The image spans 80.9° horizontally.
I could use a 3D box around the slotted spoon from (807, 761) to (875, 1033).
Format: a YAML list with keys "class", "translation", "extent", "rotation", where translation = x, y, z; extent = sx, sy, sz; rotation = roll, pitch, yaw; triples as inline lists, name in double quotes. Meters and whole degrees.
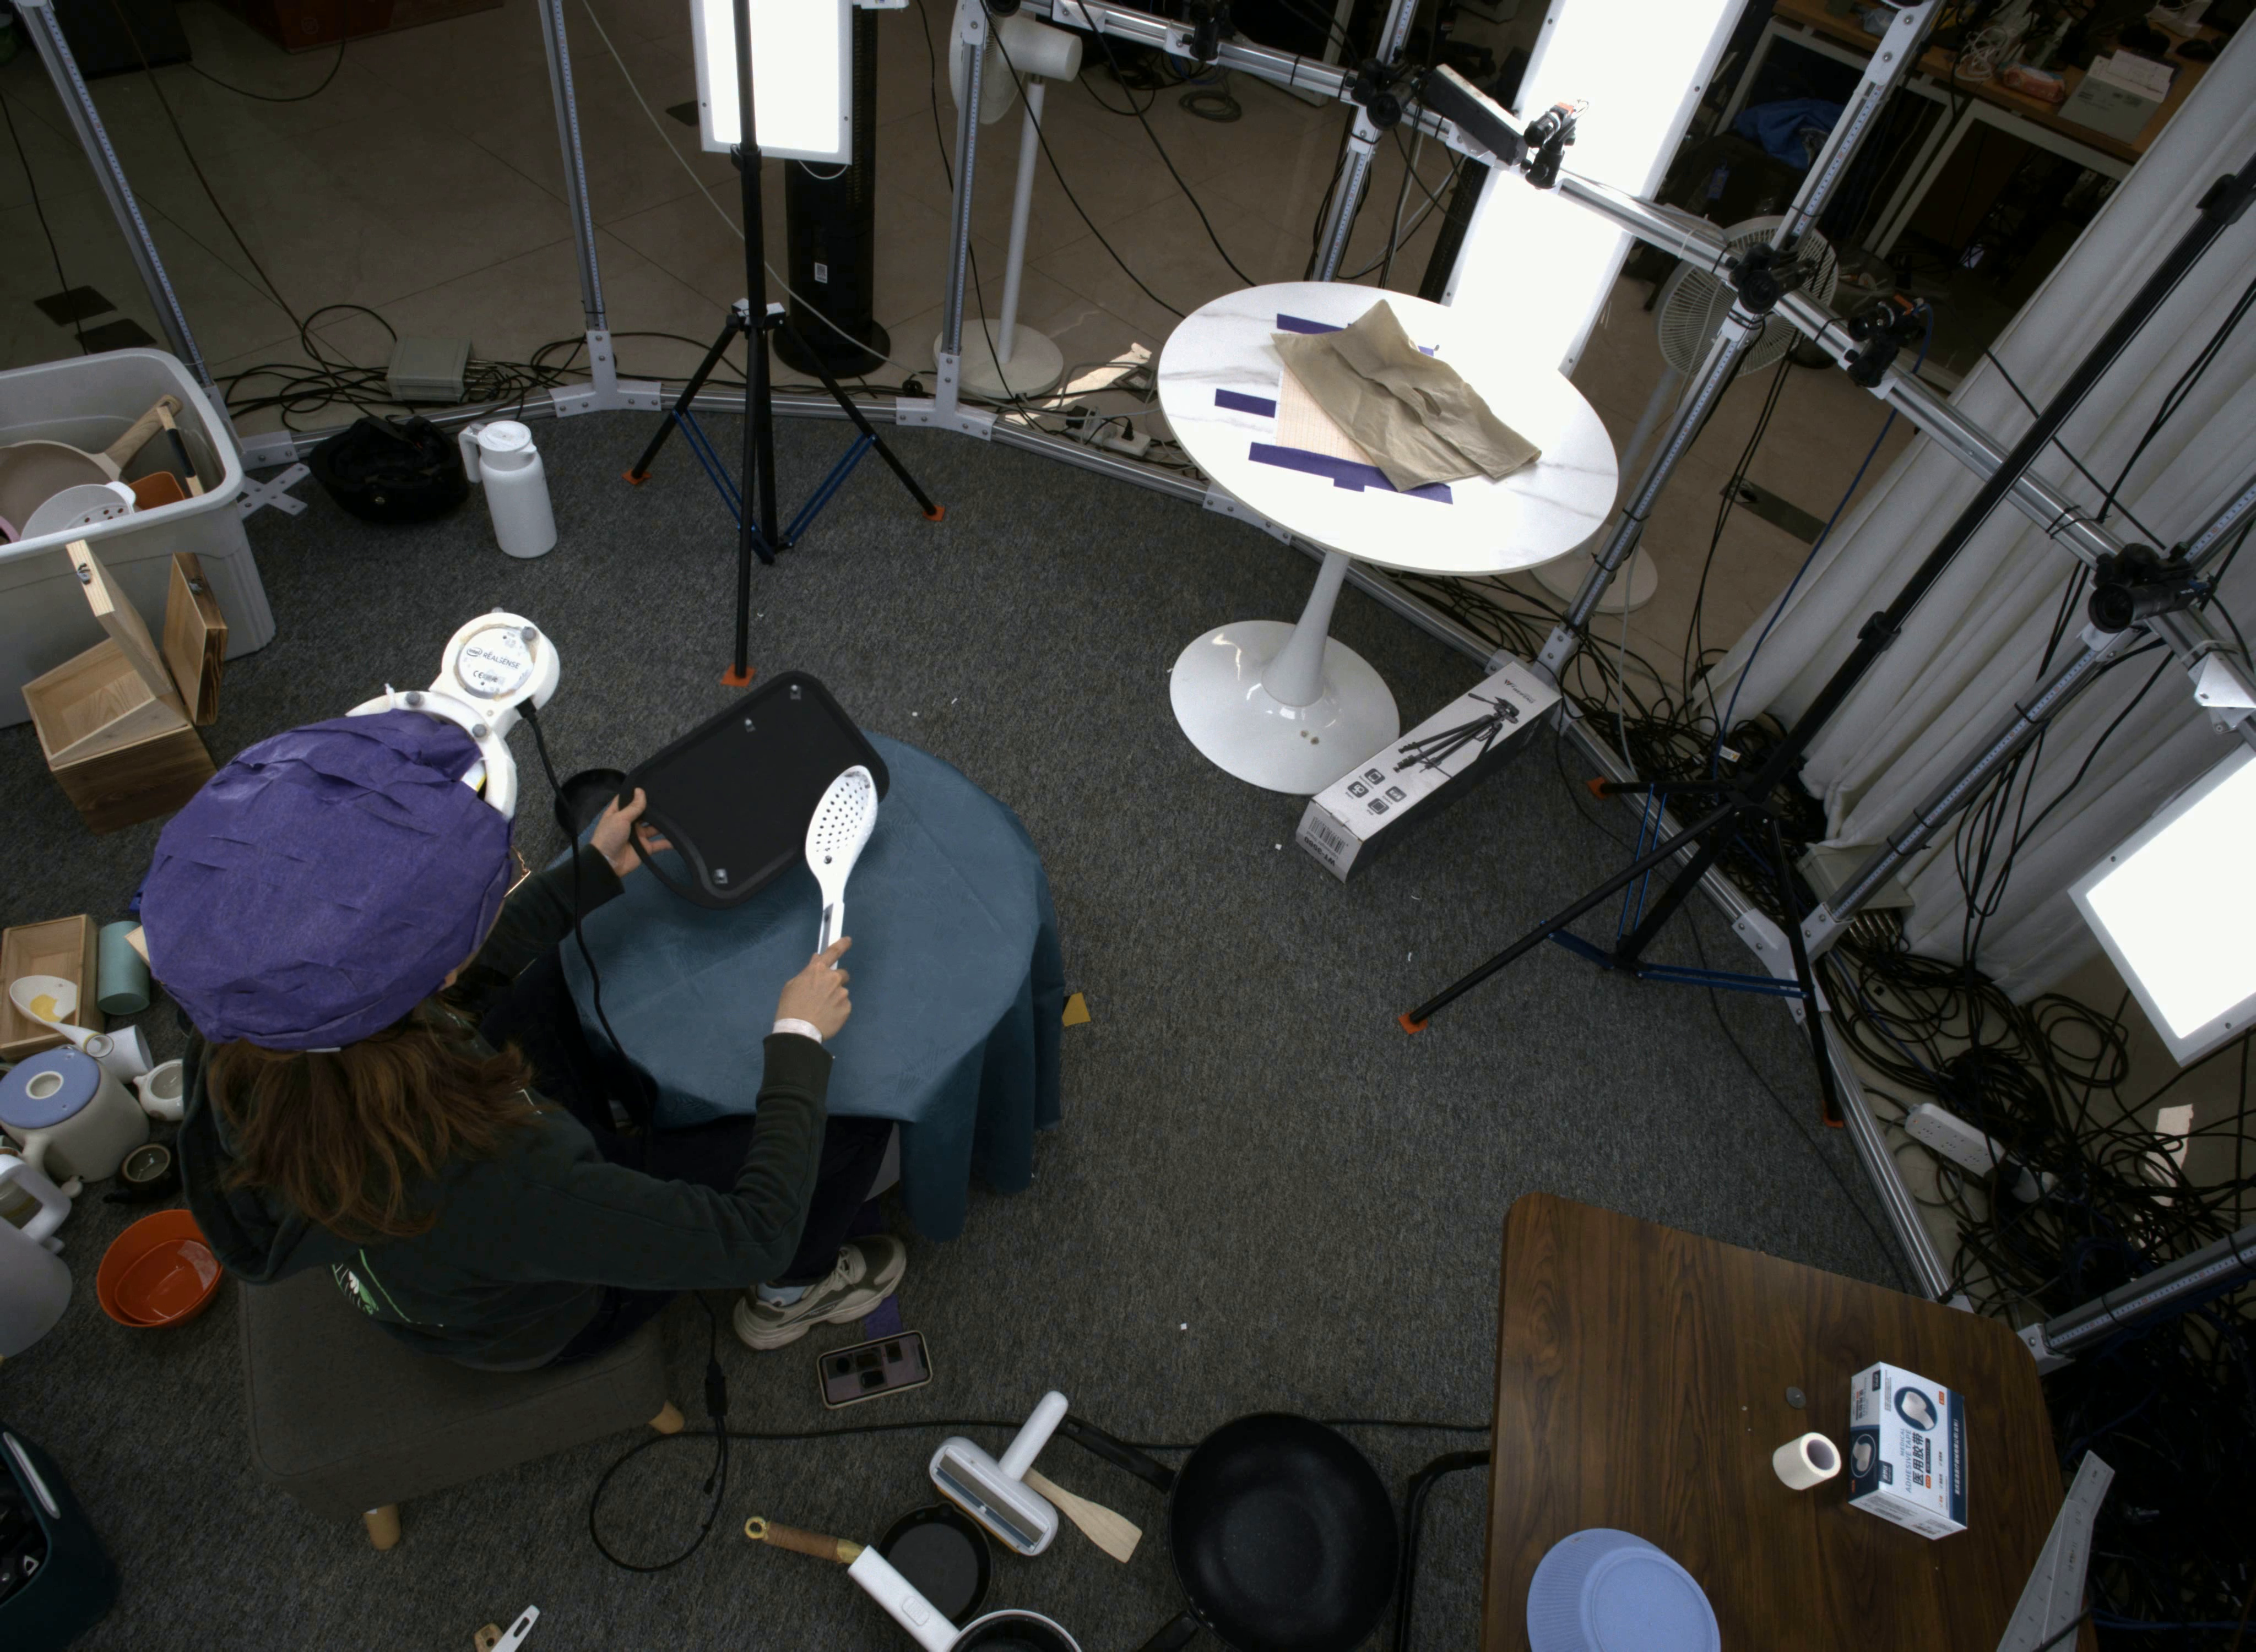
- class: "slotted spoon"
  translation: [-0.340, 0.075, 1.498]
  extent: [0.047, 0.134, 0.343]
  rotation: [30, 45, -32]

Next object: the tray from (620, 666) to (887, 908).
- class: "tray"
  translation: [-0.467, -0.049, 1.610]
  extent: [0.325, 0.009, 0.213]
  rotation: [-41, 98, -30]
